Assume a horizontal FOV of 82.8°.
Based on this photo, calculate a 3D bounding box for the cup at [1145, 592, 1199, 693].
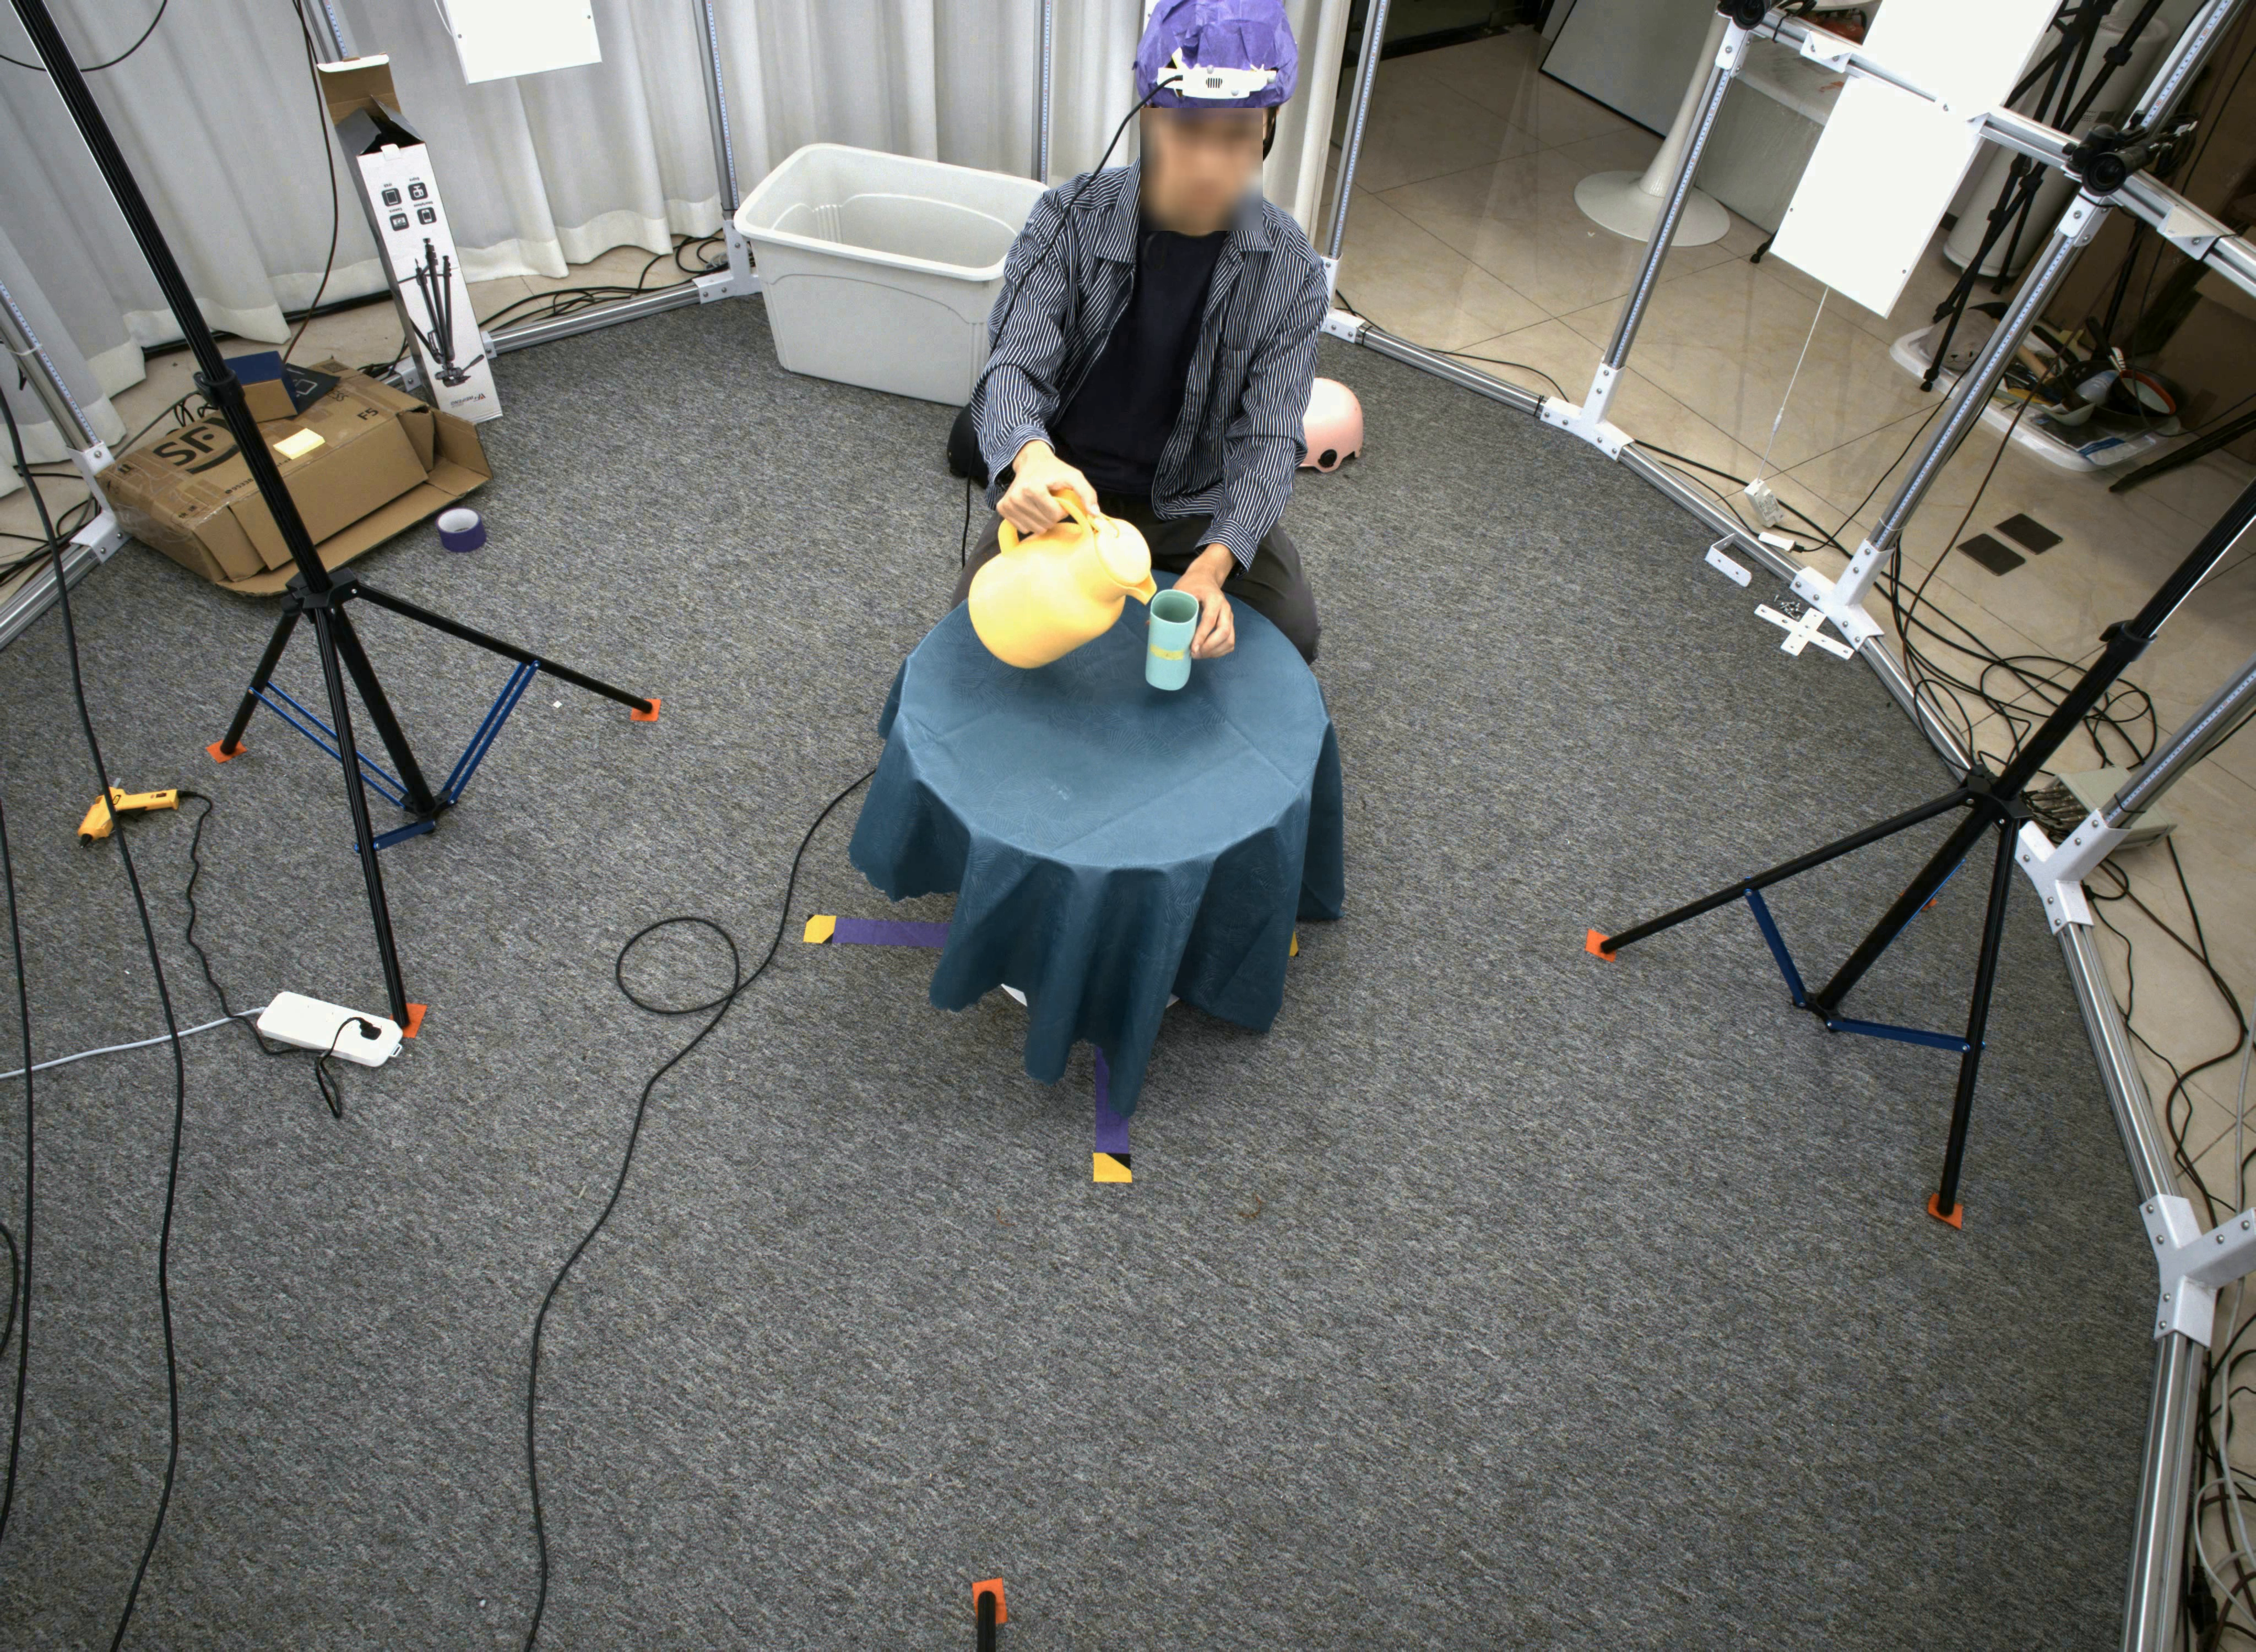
[{"bbox_3d":[0.058,-0.249,1.744,0.066,0.129,0.068,2,52,-2],"label":"cup"}]

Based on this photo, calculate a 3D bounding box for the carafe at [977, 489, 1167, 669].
[{"bbox_3d":[-0.084,-0.333,1.712,0.199,0.259,0.166,50,46,-21],"label":"carafe"}]
